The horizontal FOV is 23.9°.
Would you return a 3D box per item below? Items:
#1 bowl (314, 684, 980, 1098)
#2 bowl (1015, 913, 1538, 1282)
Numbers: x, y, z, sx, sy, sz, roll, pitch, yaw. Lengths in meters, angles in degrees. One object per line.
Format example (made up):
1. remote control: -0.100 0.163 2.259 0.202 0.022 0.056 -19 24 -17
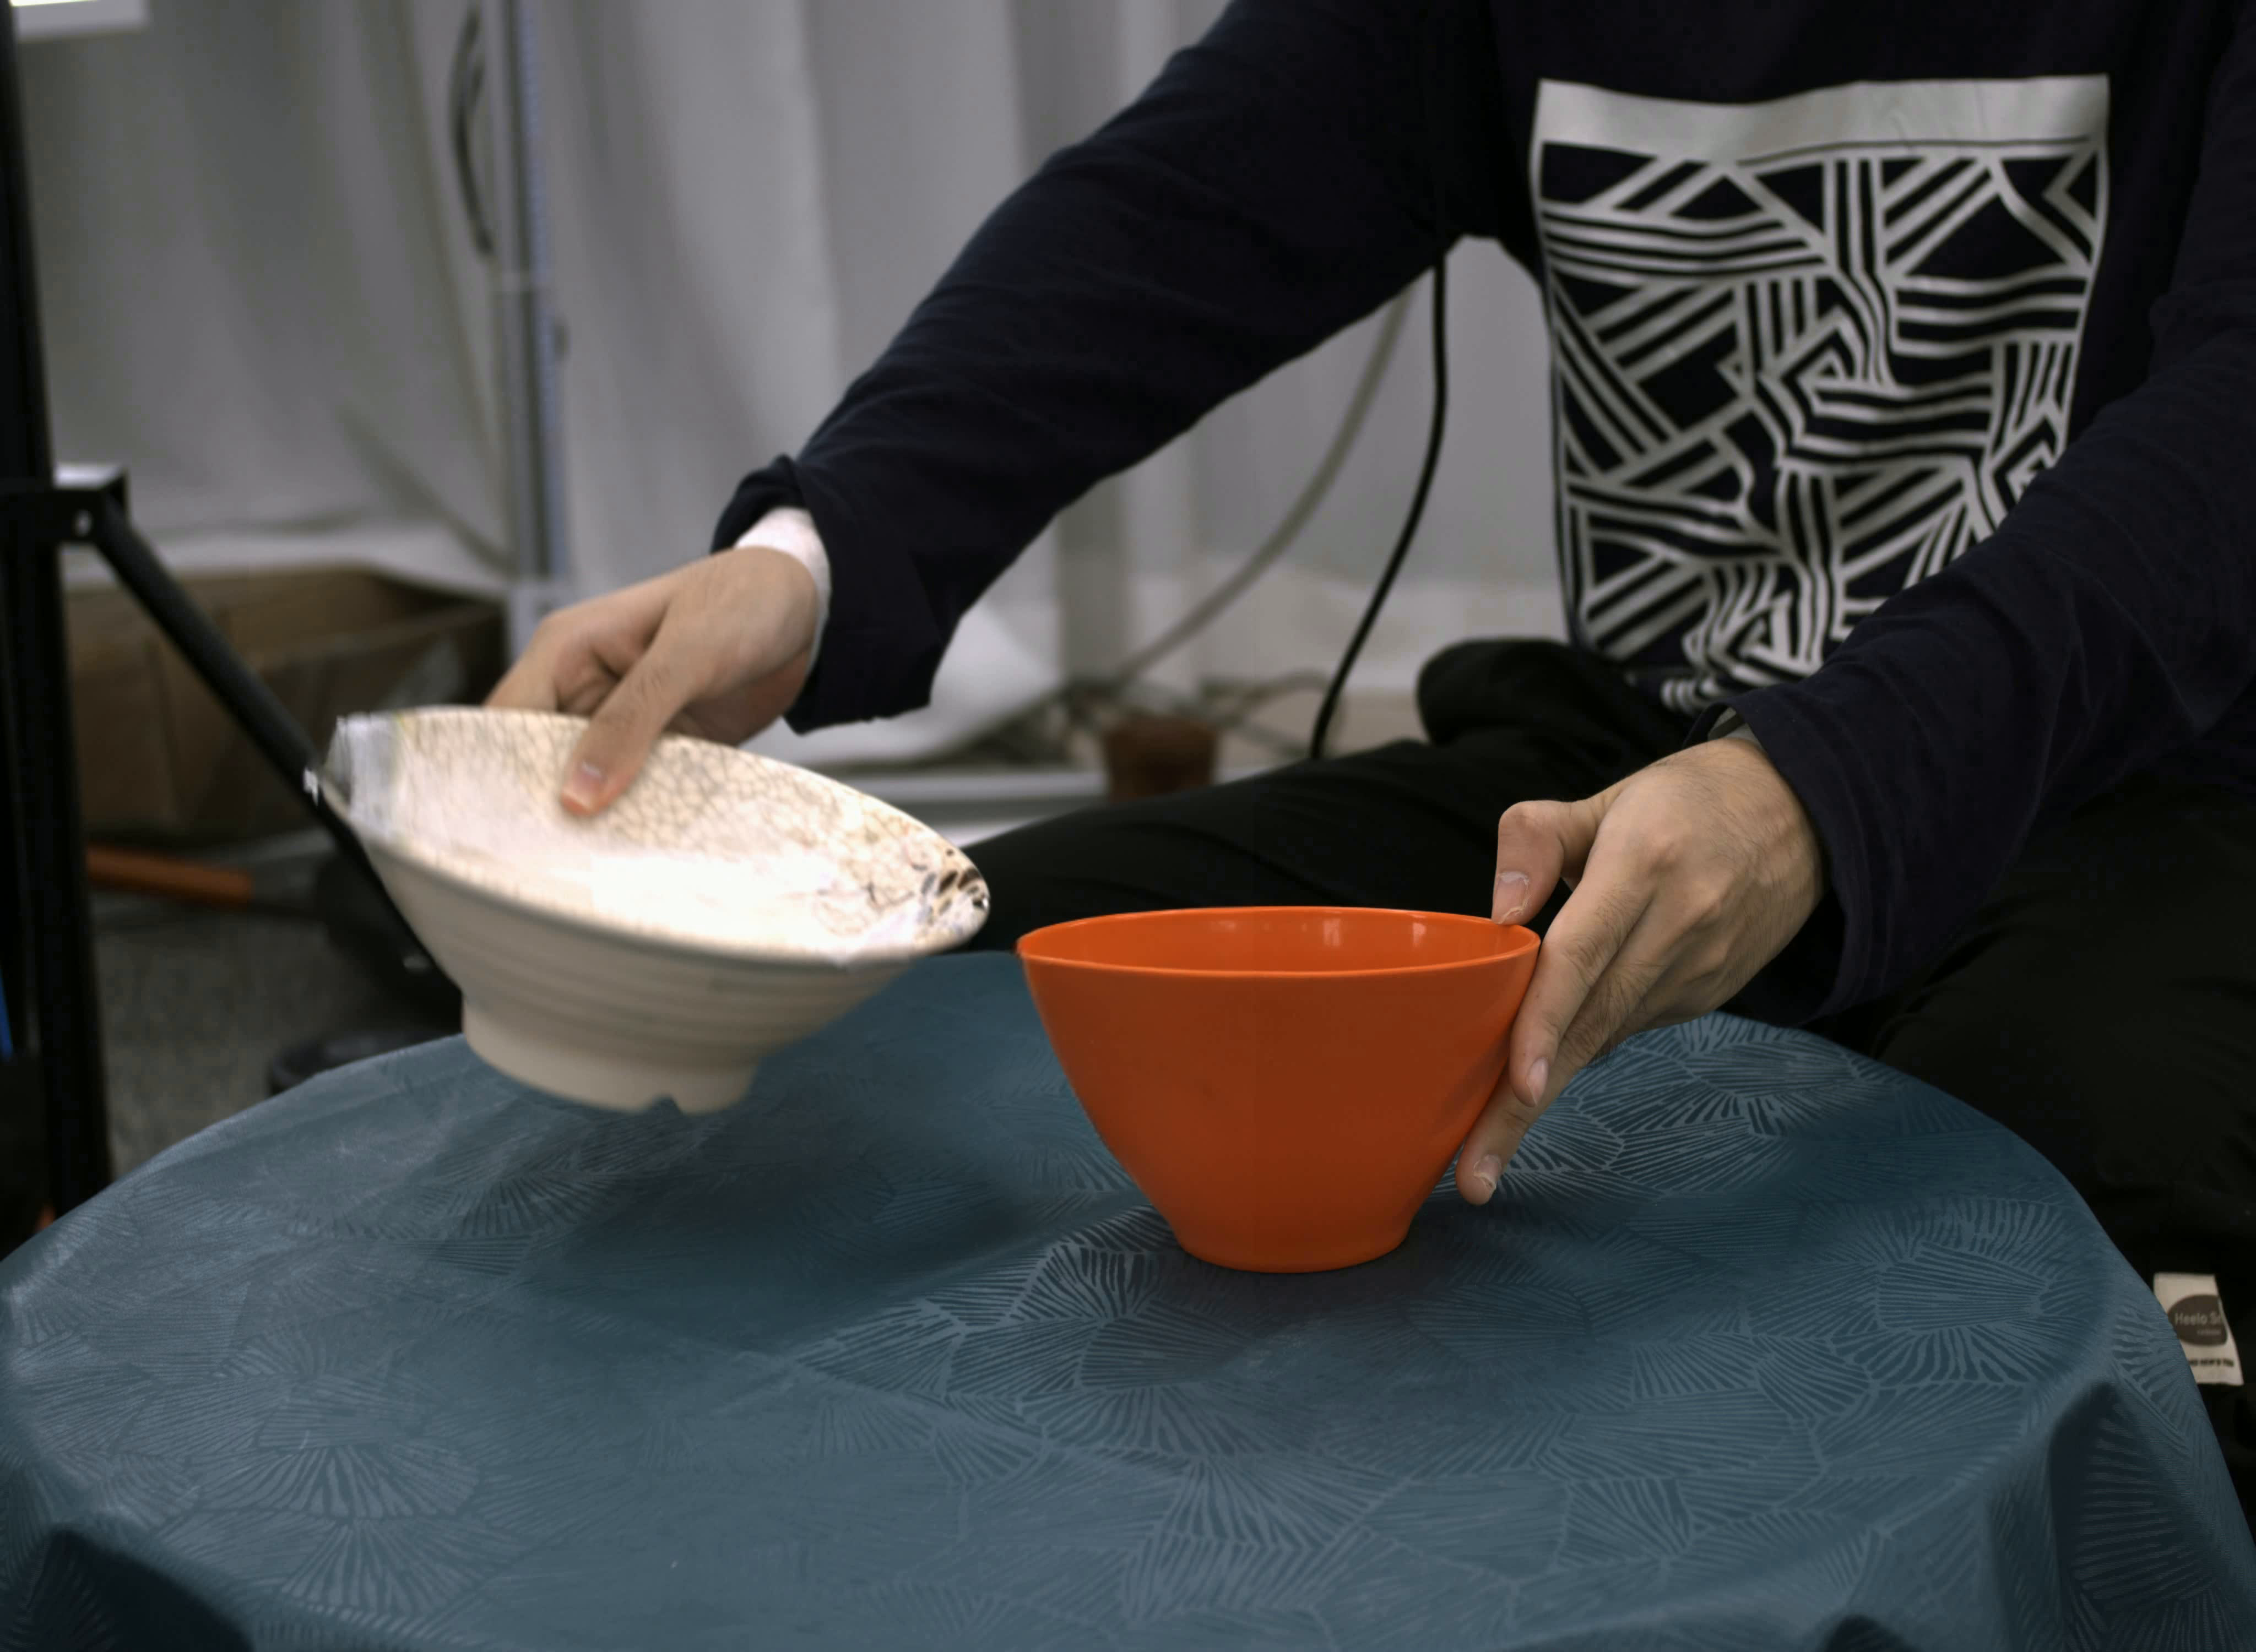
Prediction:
1. bowl: -0.151 0.029 1.587 0.202 0.078 0.205 14 14 -5
2. bowl: 0.043 0.073 1.498 0.147 0.105 0.149 -2 14 -1
